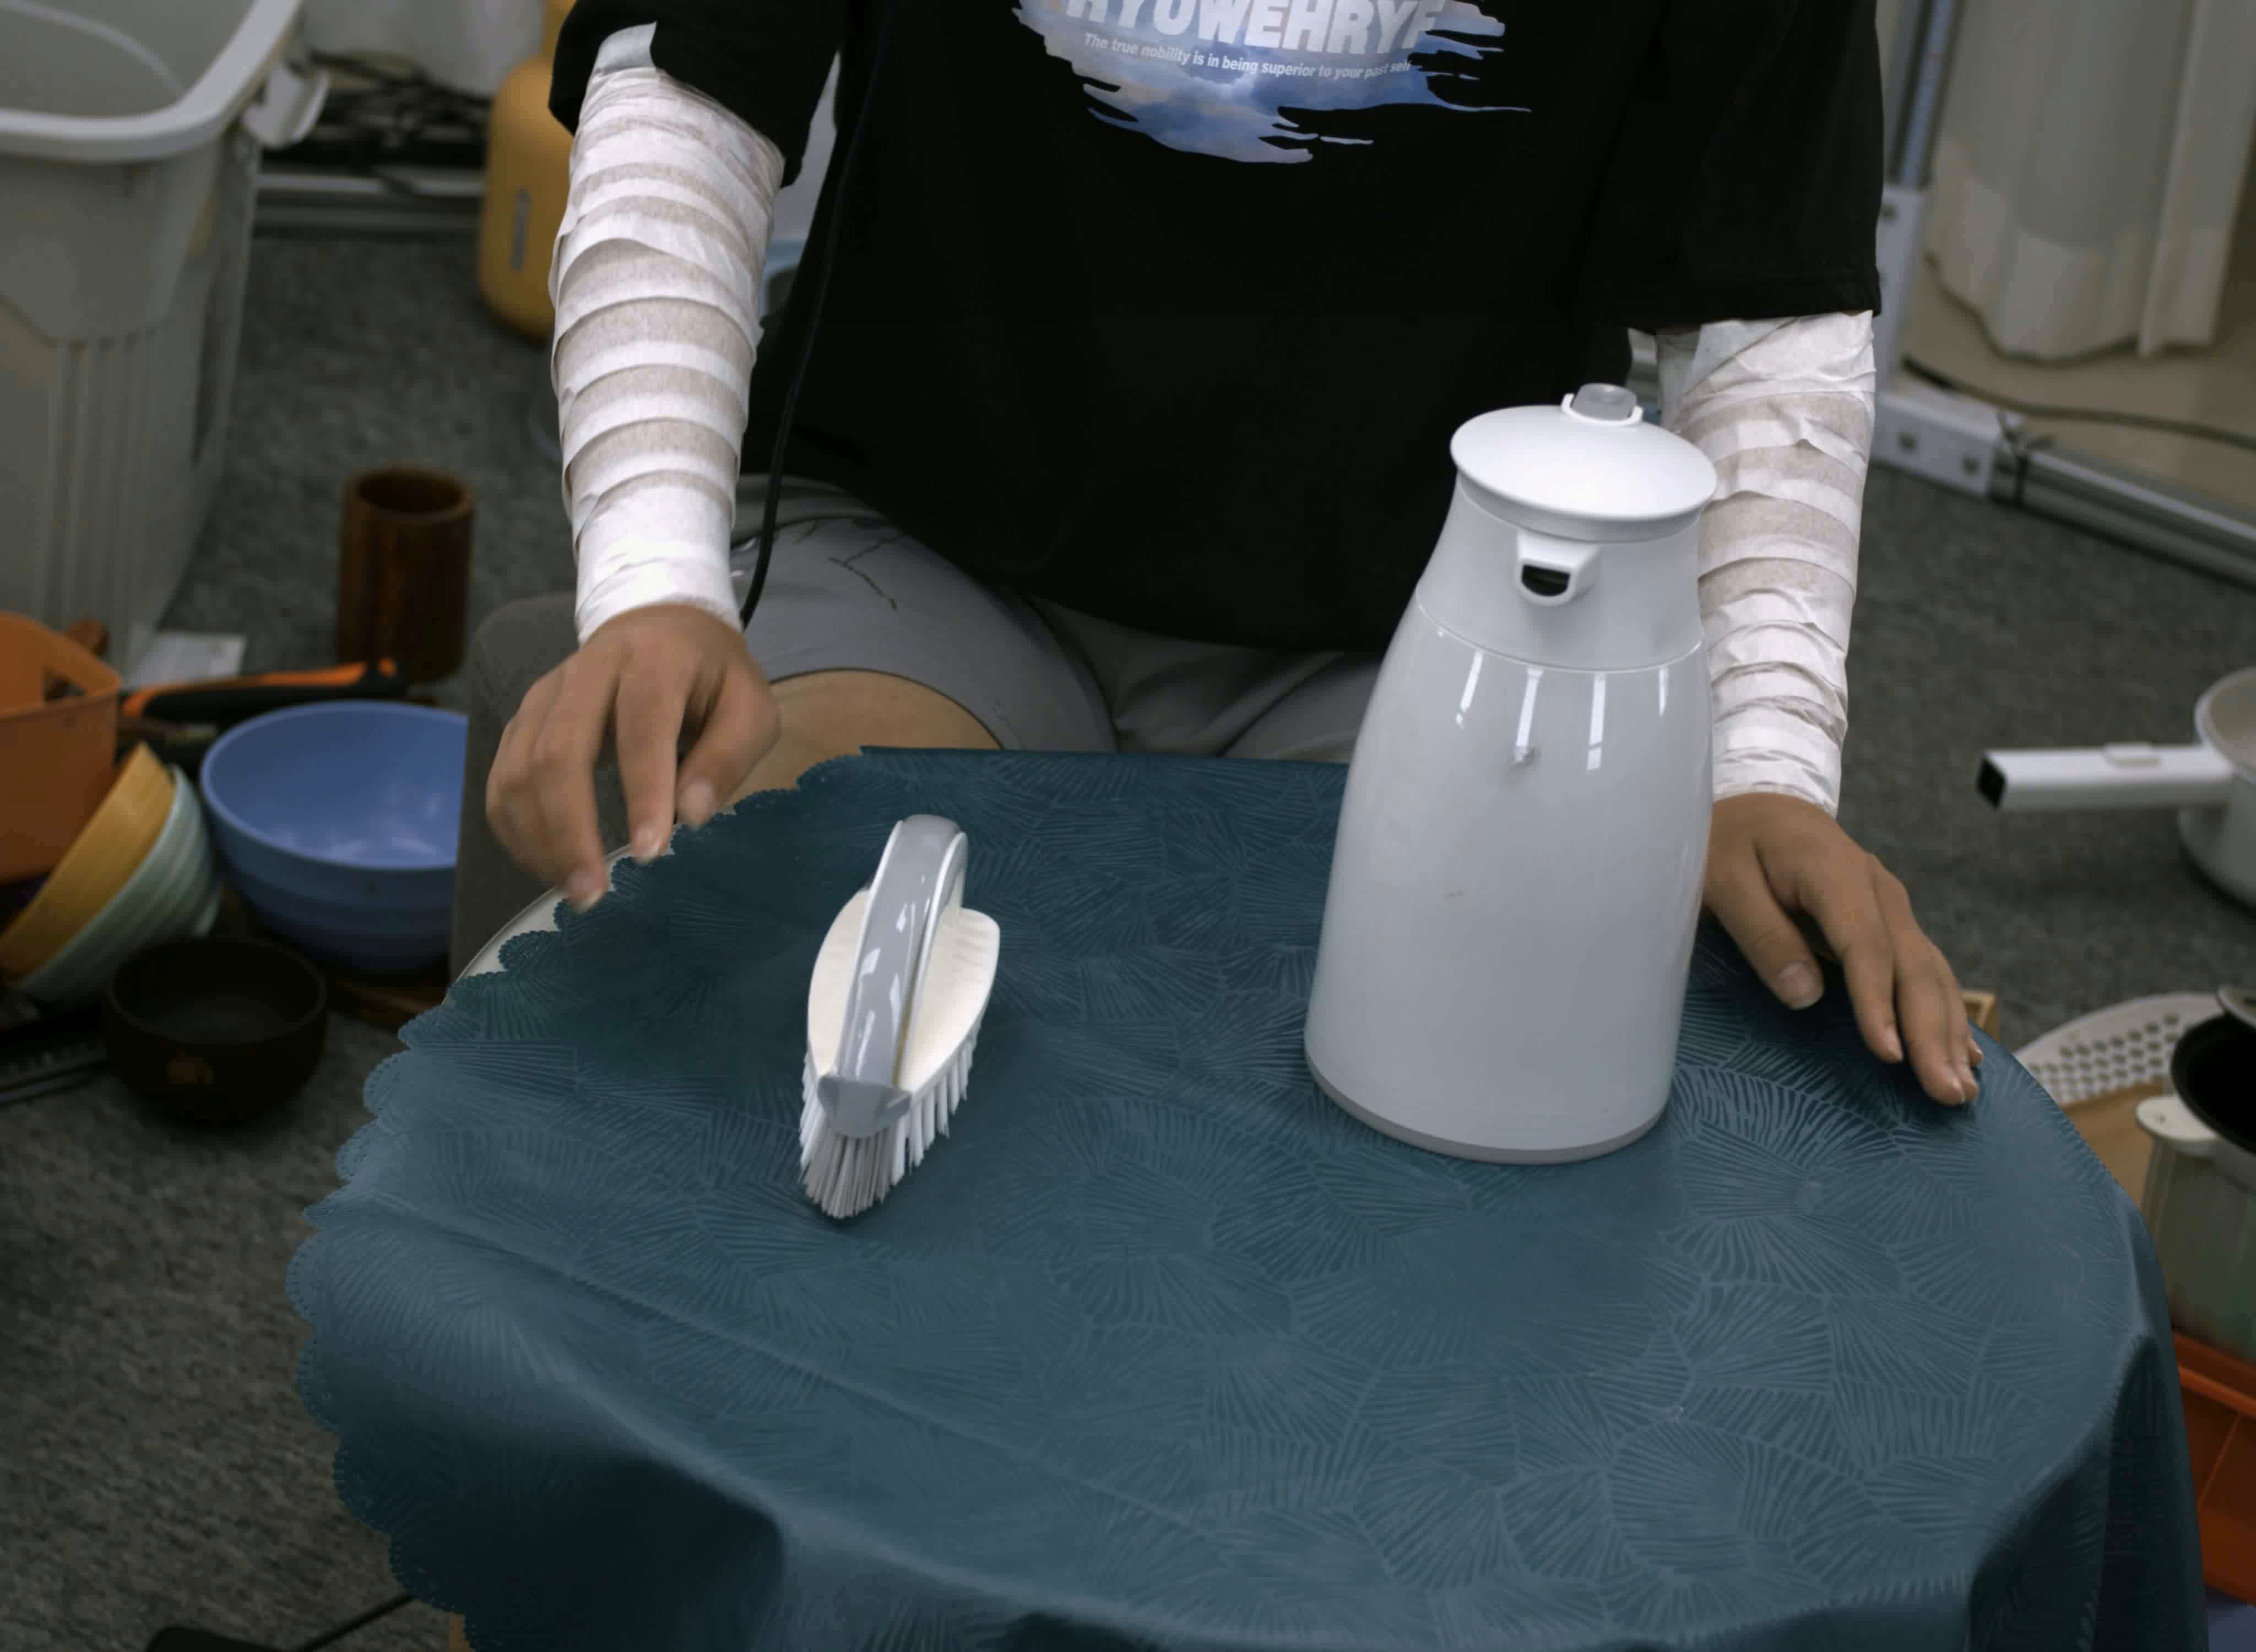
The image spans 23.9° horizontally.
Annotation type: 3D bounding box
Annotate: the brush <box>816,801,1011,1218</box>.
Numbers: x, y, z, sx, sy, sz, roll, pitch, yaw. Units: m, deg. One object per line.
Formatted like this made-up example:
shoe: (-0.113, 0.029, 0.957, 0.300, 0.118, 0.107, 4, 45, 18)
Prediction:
brush: (-0.078, 0.055, 1.821, 0.061, 0.094, 0.176, 6, 28, 5)

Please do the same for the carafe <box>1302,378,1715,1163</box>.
carafe: (0.144, -0.030, 1.867, 0.132, 0.248, 0.168, 11, 26, 9)
